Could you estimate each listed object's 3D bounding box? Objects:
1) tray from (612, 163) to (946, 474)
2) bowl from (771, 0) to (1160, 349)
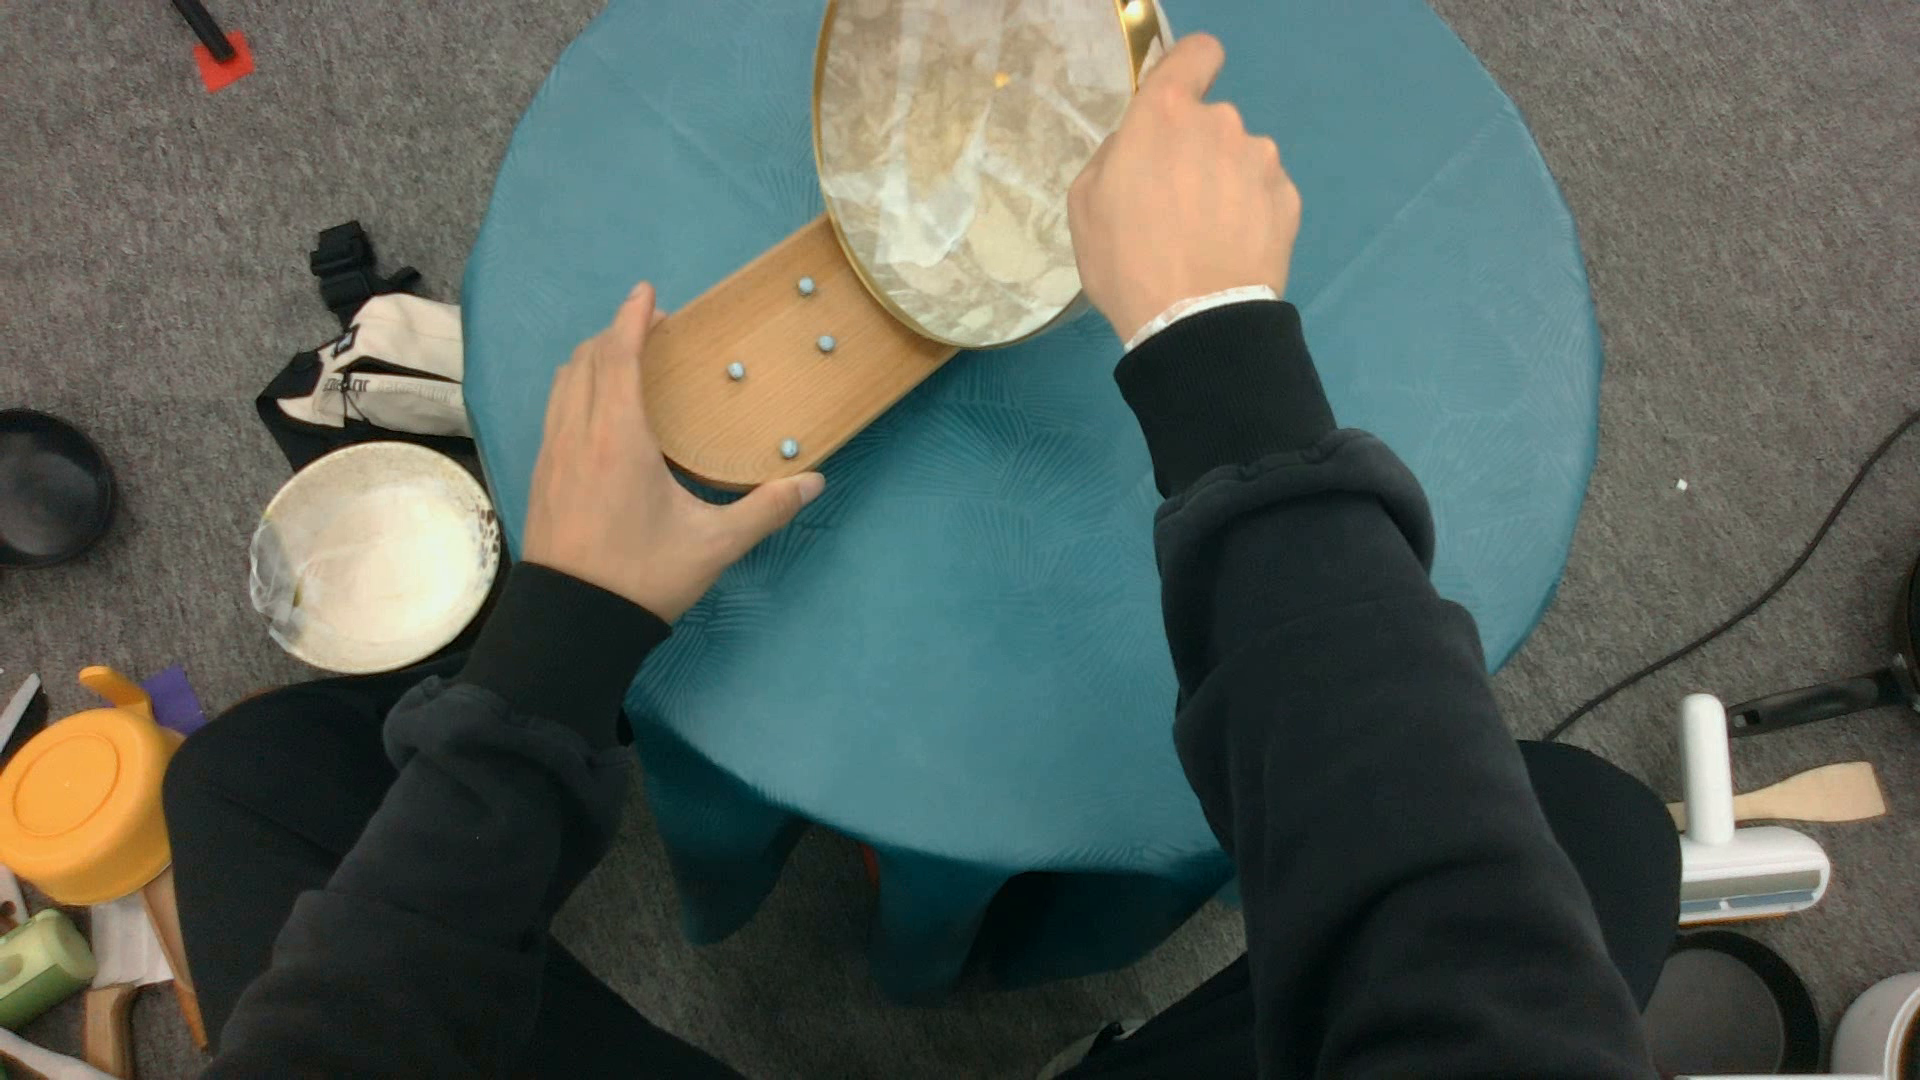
[{"bbox_3d":[-0.072,-0.115,0.681,0.102,0.020,0.232,42,57,5],"label":"tray"},{"bbox_3d":[0.016,-0.200,0.652,0.095,0.213,0.215,-21,71,-46],"label":"bowl"}]
